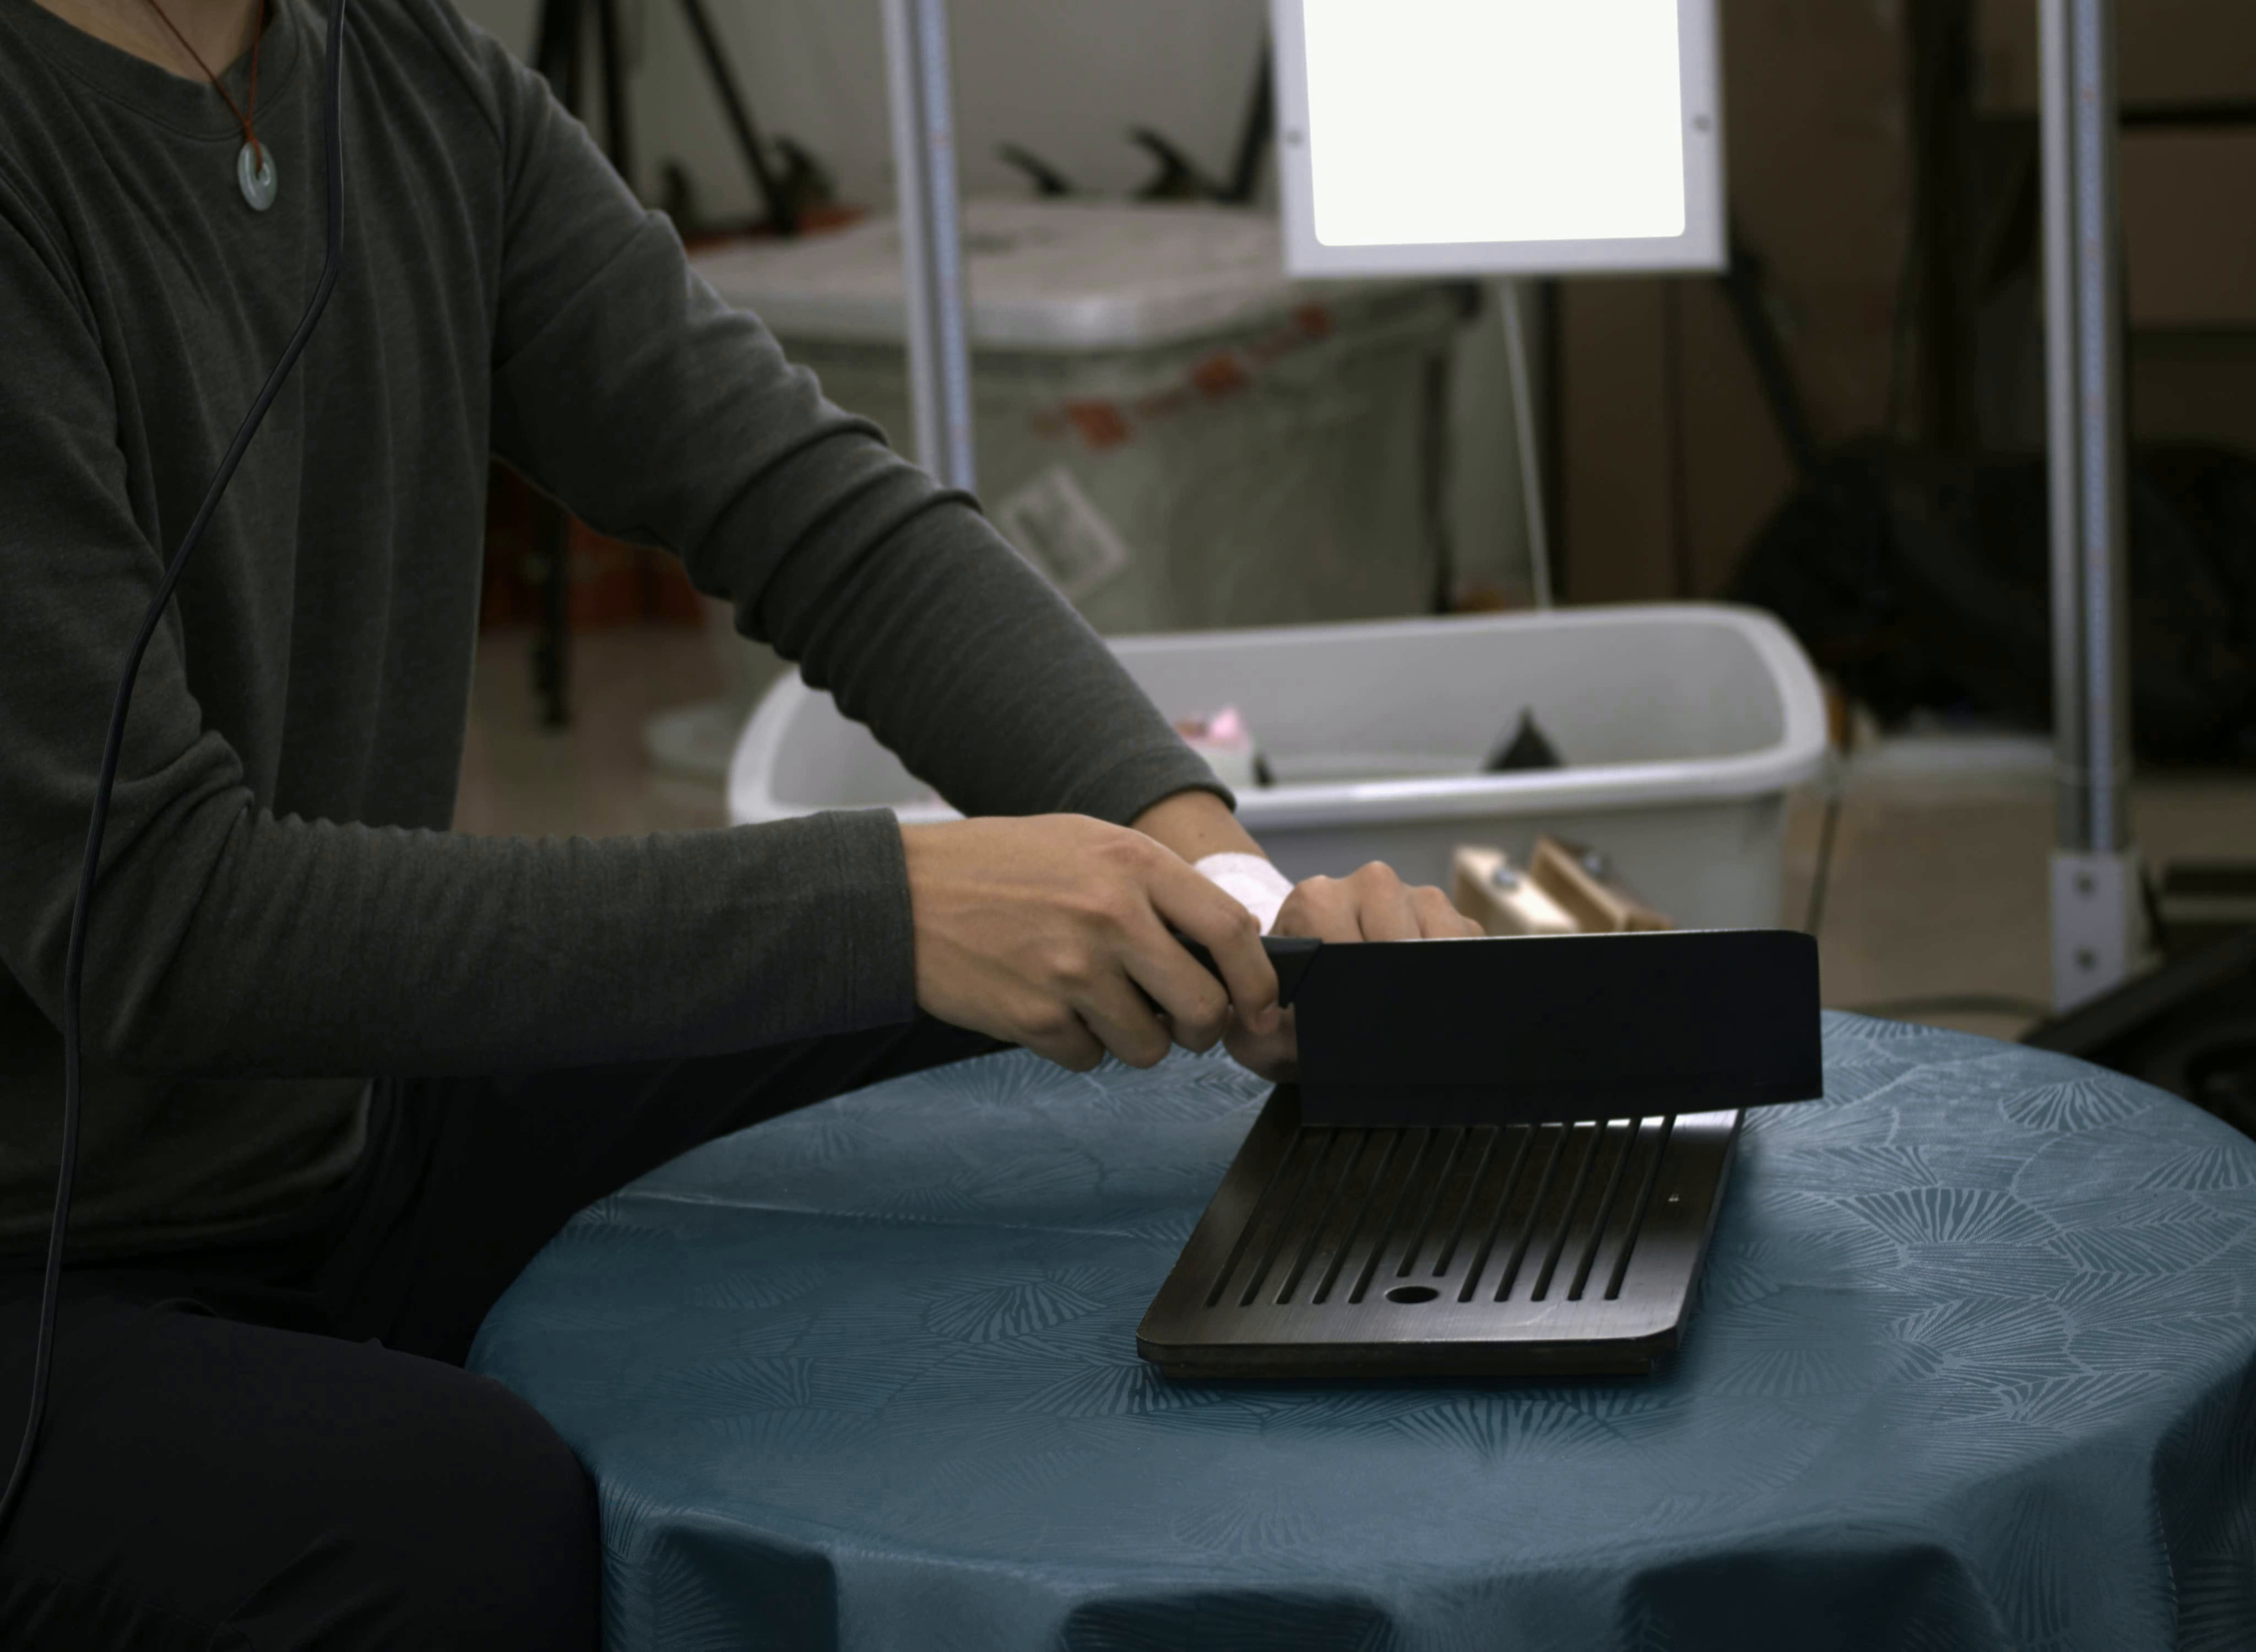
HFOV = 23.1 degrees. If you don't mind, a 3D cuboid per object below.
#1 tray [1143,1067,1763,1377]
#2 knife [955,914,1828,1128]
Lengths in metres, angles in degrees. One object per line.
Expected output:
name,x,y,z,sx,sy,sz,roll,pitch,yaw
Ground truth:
tray,0.115,0.127,1.819,0.171,0.019,0.302,-3,13,13
knife,0.089,0.065,1.882,0.304,0.081,0.020,2,12,11
